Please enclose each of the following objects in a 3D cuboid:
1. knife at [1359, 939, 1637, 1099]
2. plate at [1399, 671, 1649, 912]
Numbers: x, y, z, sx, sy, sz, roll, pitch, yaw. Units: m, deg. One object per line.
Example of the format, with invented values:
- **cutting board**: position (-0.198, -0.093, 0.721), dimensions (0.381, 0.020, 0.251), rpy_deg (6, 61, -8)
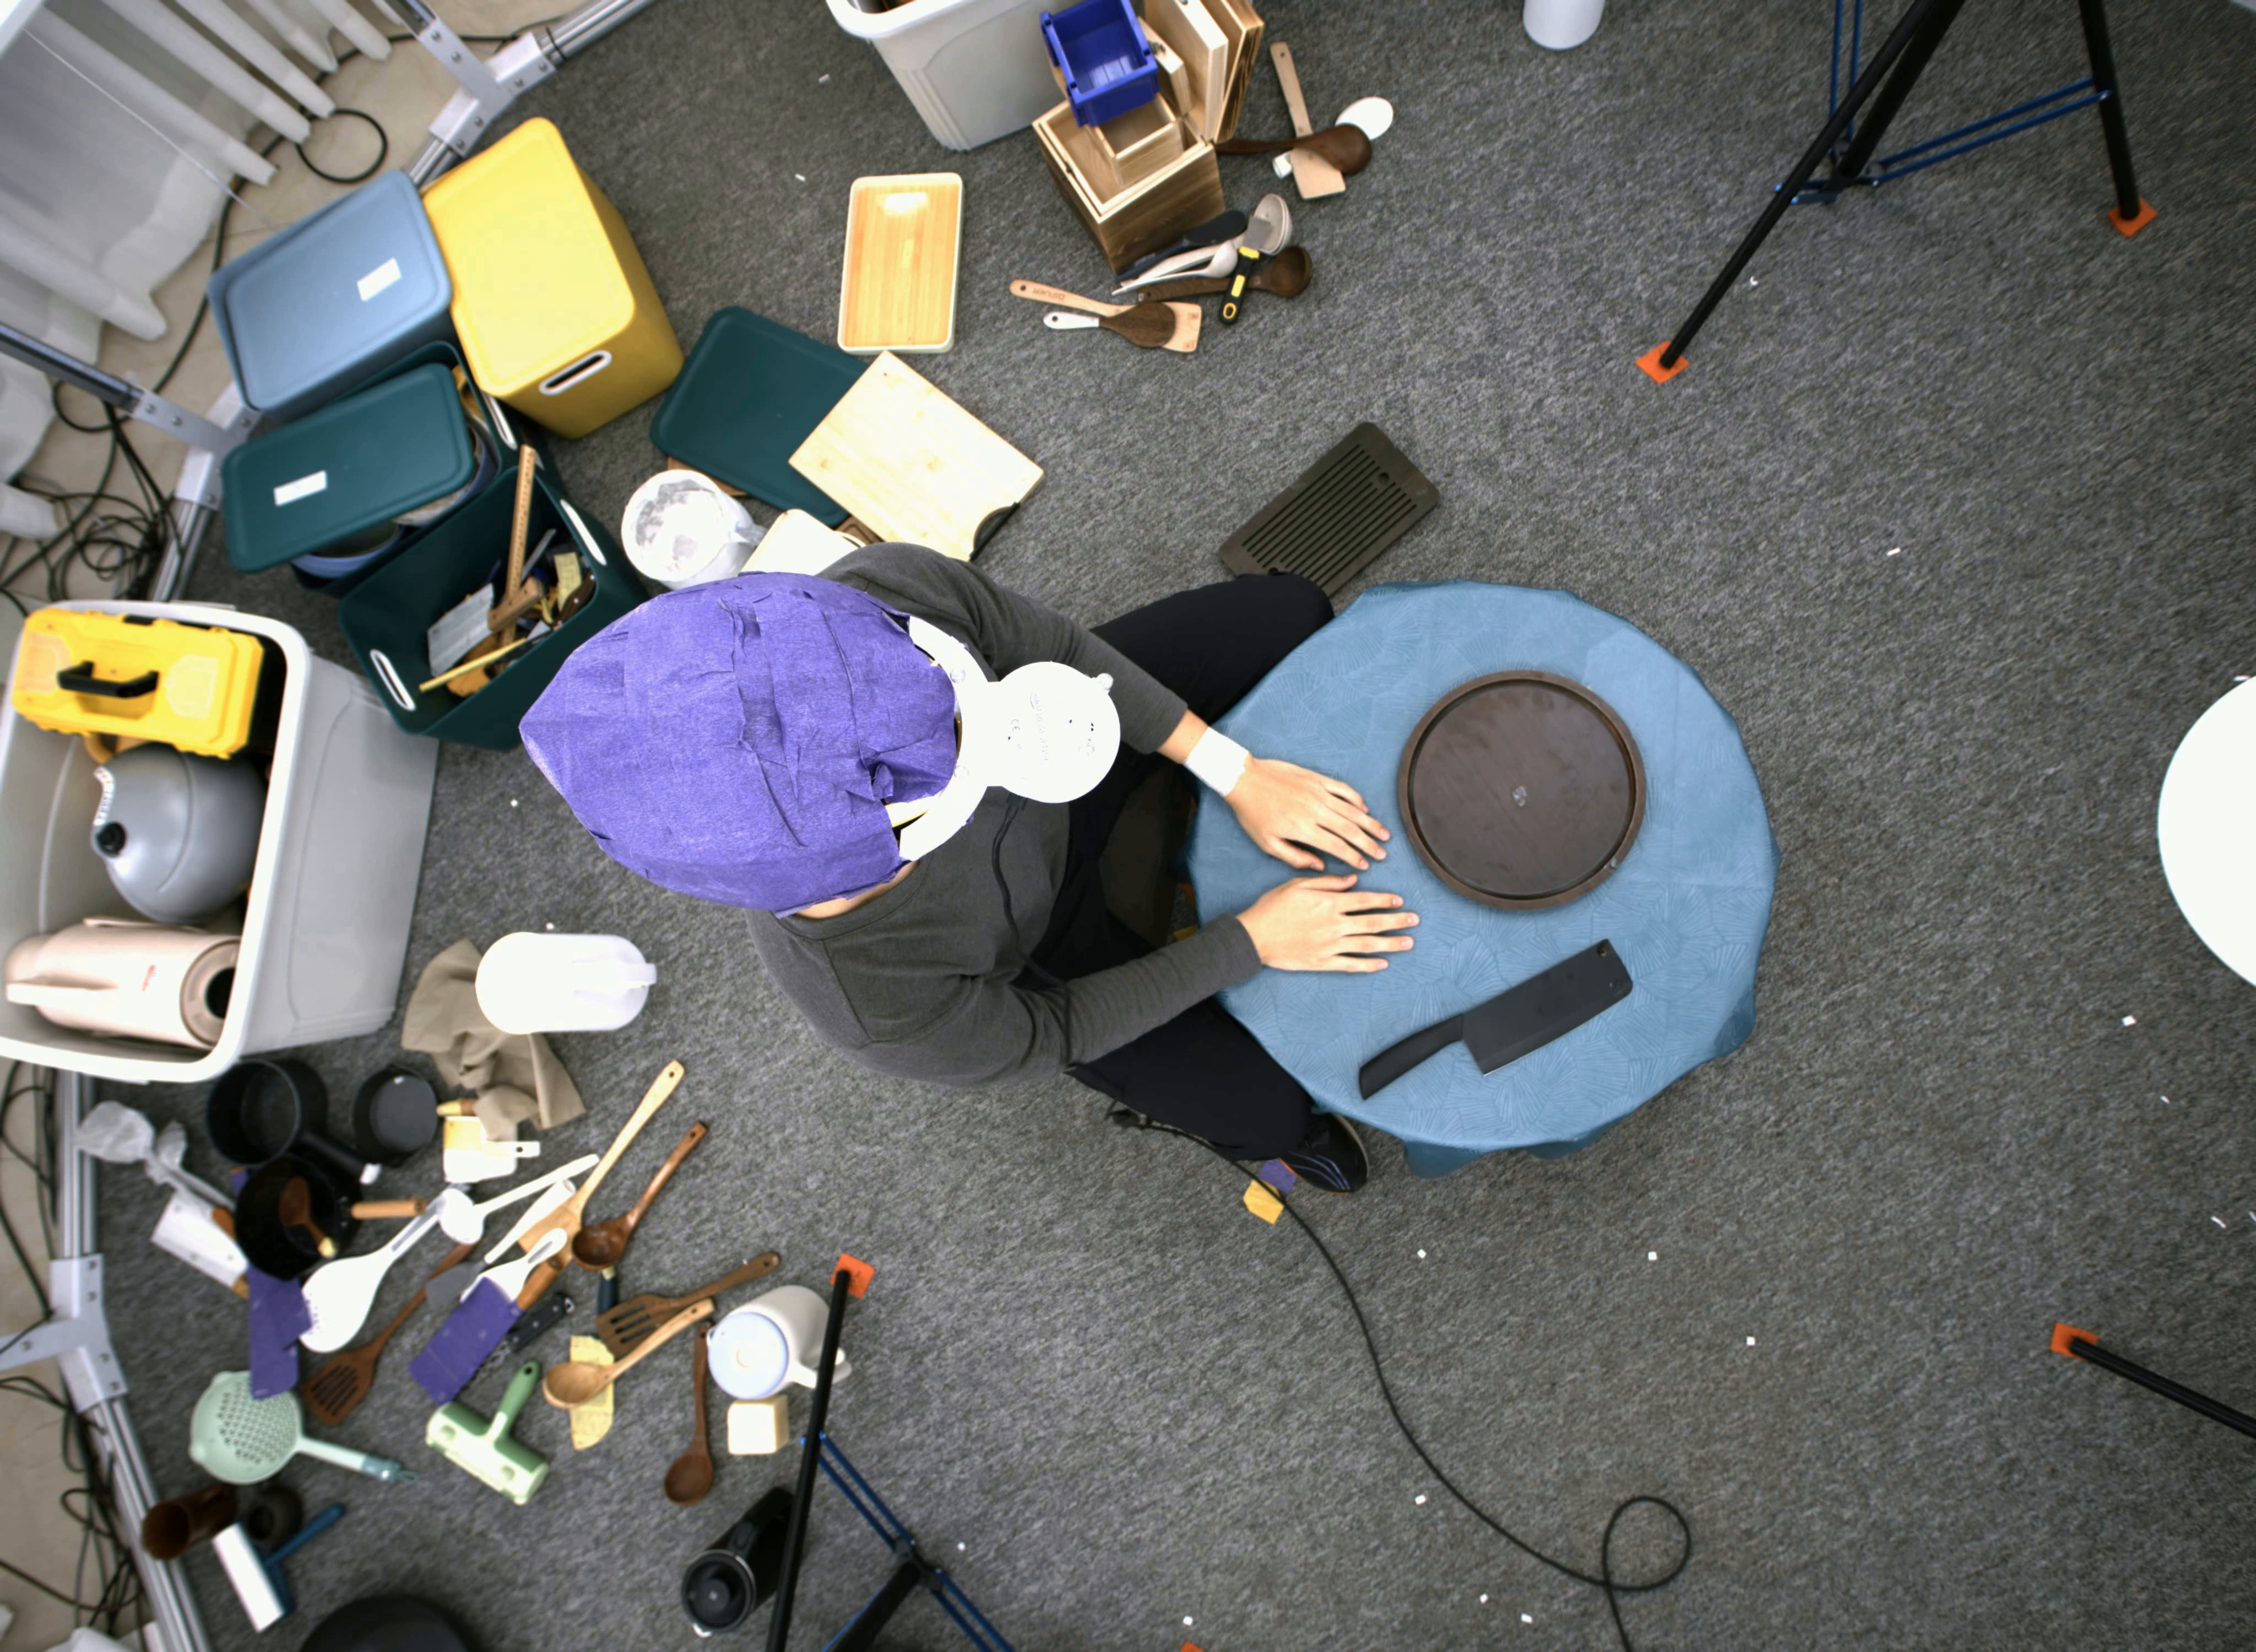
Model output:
- **knife**: position (0.377, 0.208, 1.425), dimensions (0.304, 0.021, 0.080), rpy_deg (-24, 84, 7)
- **plate**: position (0.409, -0.039, 1.428), dimensions (0.256, 0.029, 0.253), rpy_deg (-1, 87, 10)
